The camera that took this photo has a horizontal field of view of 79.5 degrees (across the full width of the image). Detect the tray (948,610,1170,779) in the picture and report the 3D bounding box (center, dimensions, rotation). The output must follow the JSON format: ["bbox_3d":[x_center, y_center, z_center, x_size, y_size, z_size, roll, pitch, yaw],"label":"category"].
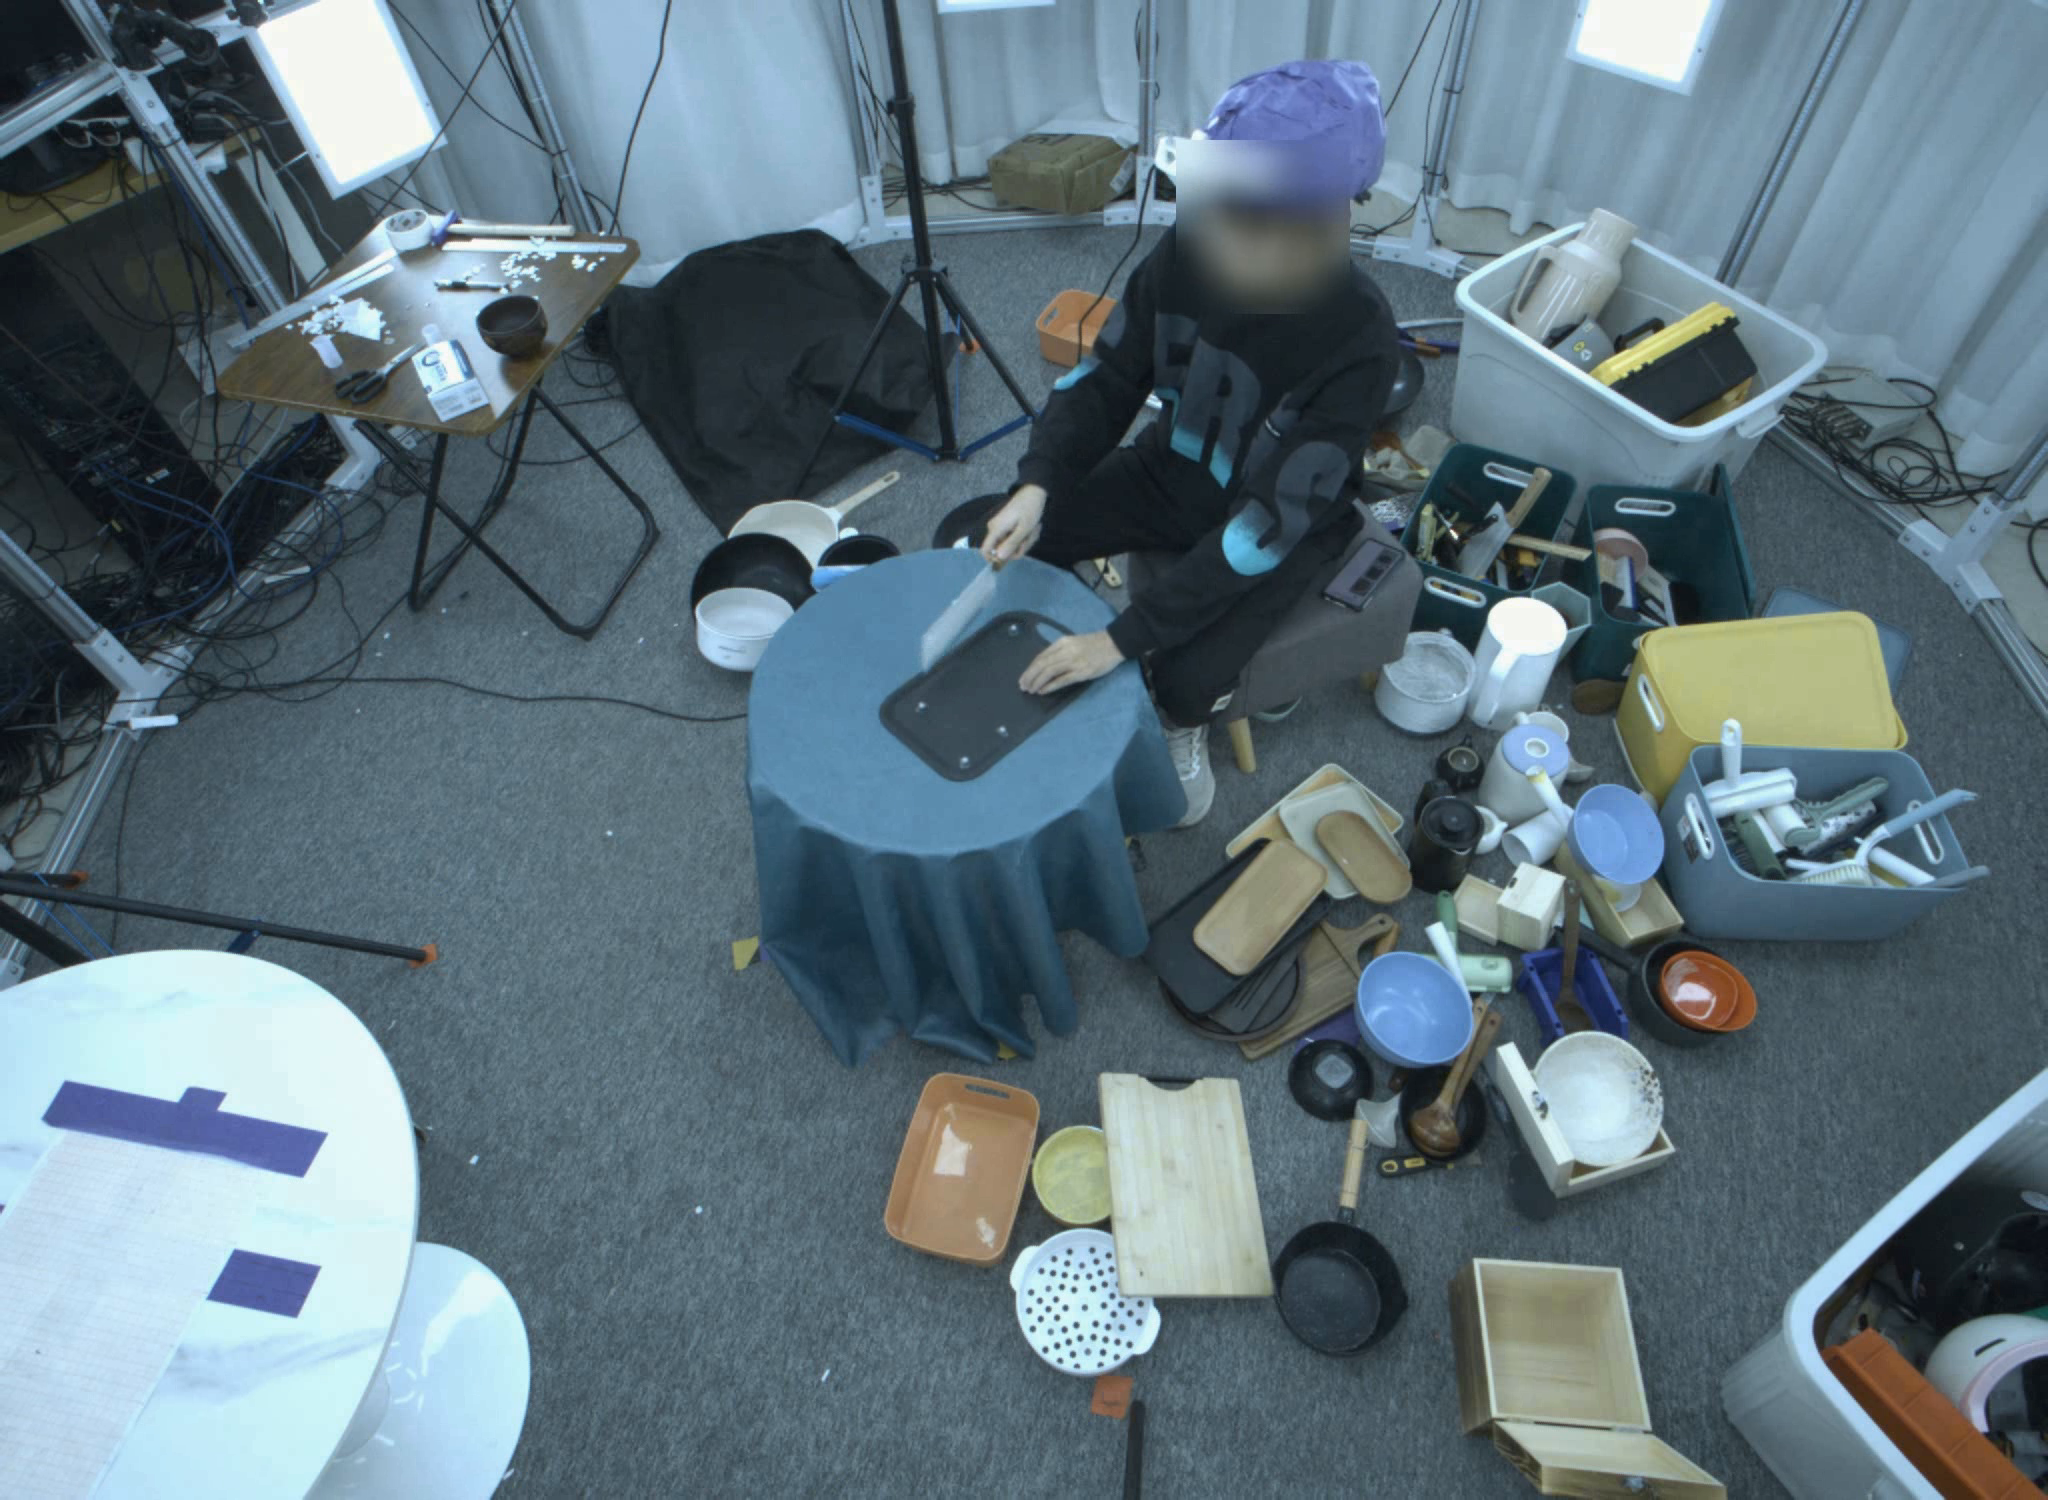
[{"bbox_3d":[0.059,-0.095,1.848,0.328,0.010,0.207,-35,61,-20],"label":"tray"}]

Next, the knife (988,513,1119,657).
[{"bbox_3d":[0.044,-0.248,1.865,0.021,0.093,0.307,36,64,15],"label":"knife"}]
